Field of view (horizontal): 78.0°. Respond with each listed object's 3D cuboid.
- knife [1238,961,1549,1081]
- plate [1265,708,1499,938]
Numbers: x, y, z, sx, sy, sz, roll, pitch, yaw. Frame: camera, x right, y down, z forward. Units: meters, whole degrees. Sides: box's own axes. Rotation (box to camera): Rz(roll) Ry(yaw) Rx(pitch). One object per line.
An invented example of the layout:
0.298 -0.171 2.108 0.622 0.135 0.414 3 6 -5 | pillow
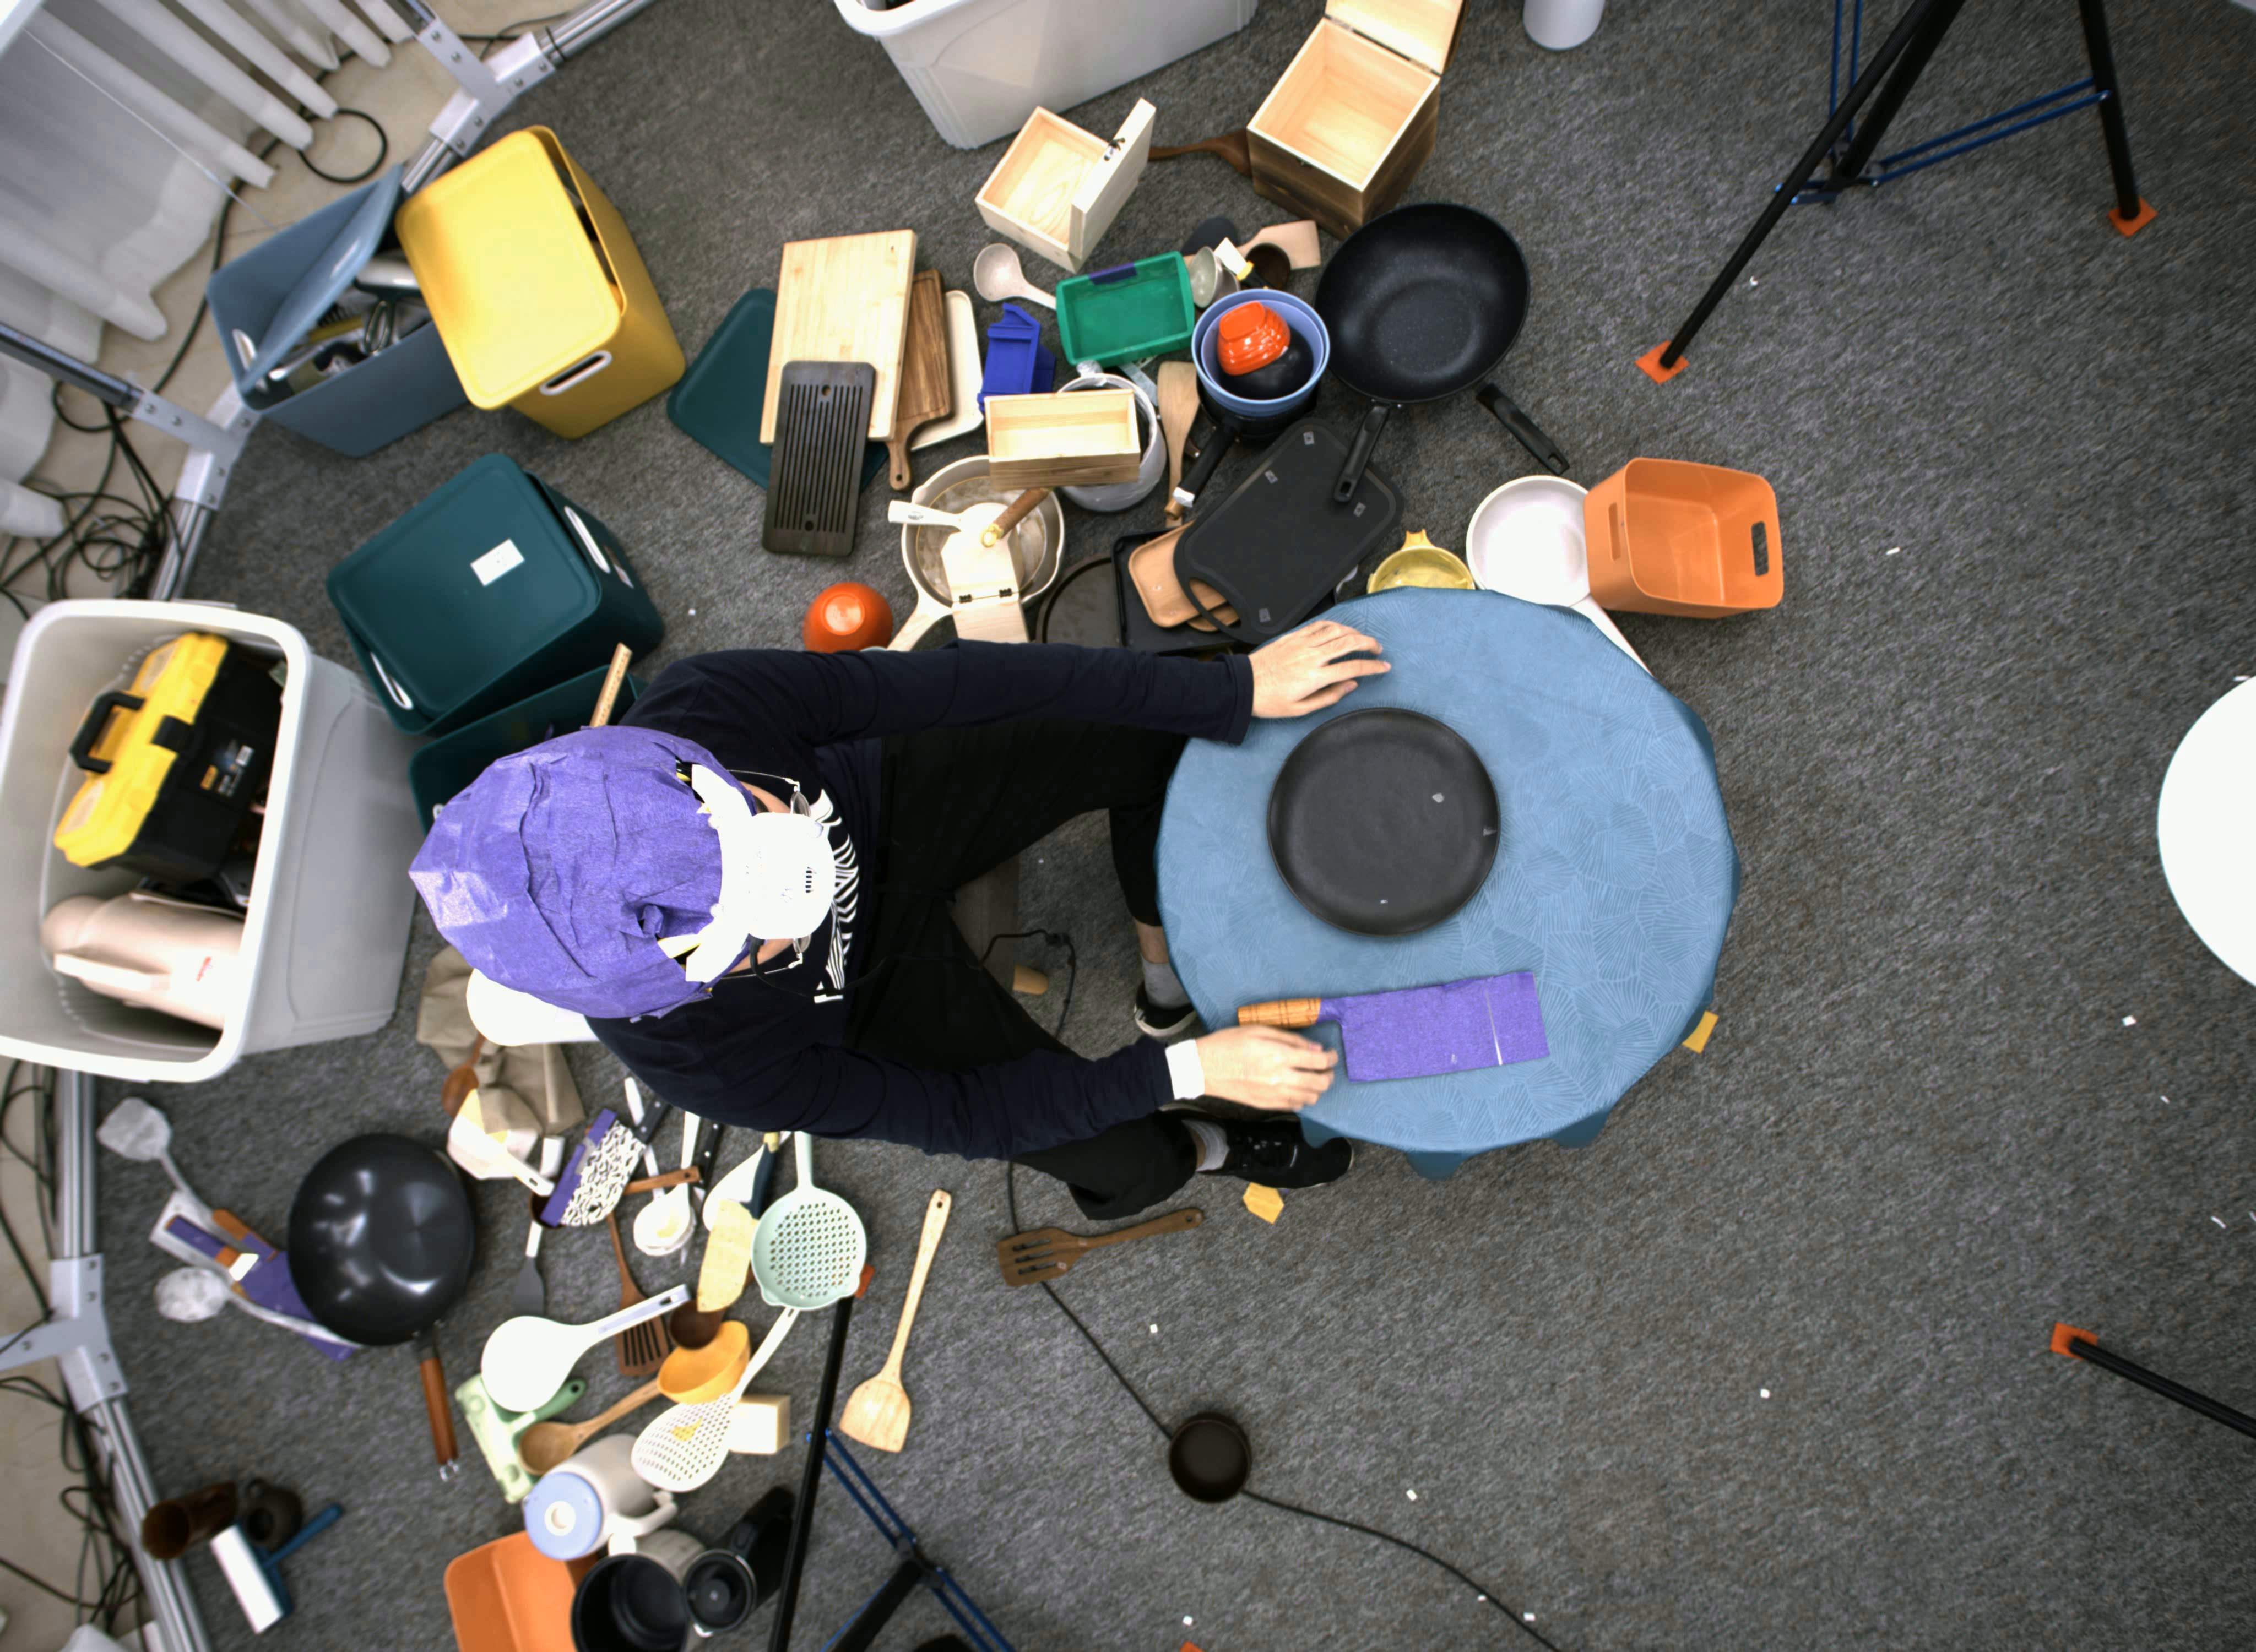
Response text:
0.275 0.212 1.438 0.317 0.032 0.103 -10 85 10 | knife
0.266 -0.005 1.454 0.245 0.023 0.243 -1 86 10 | plate
